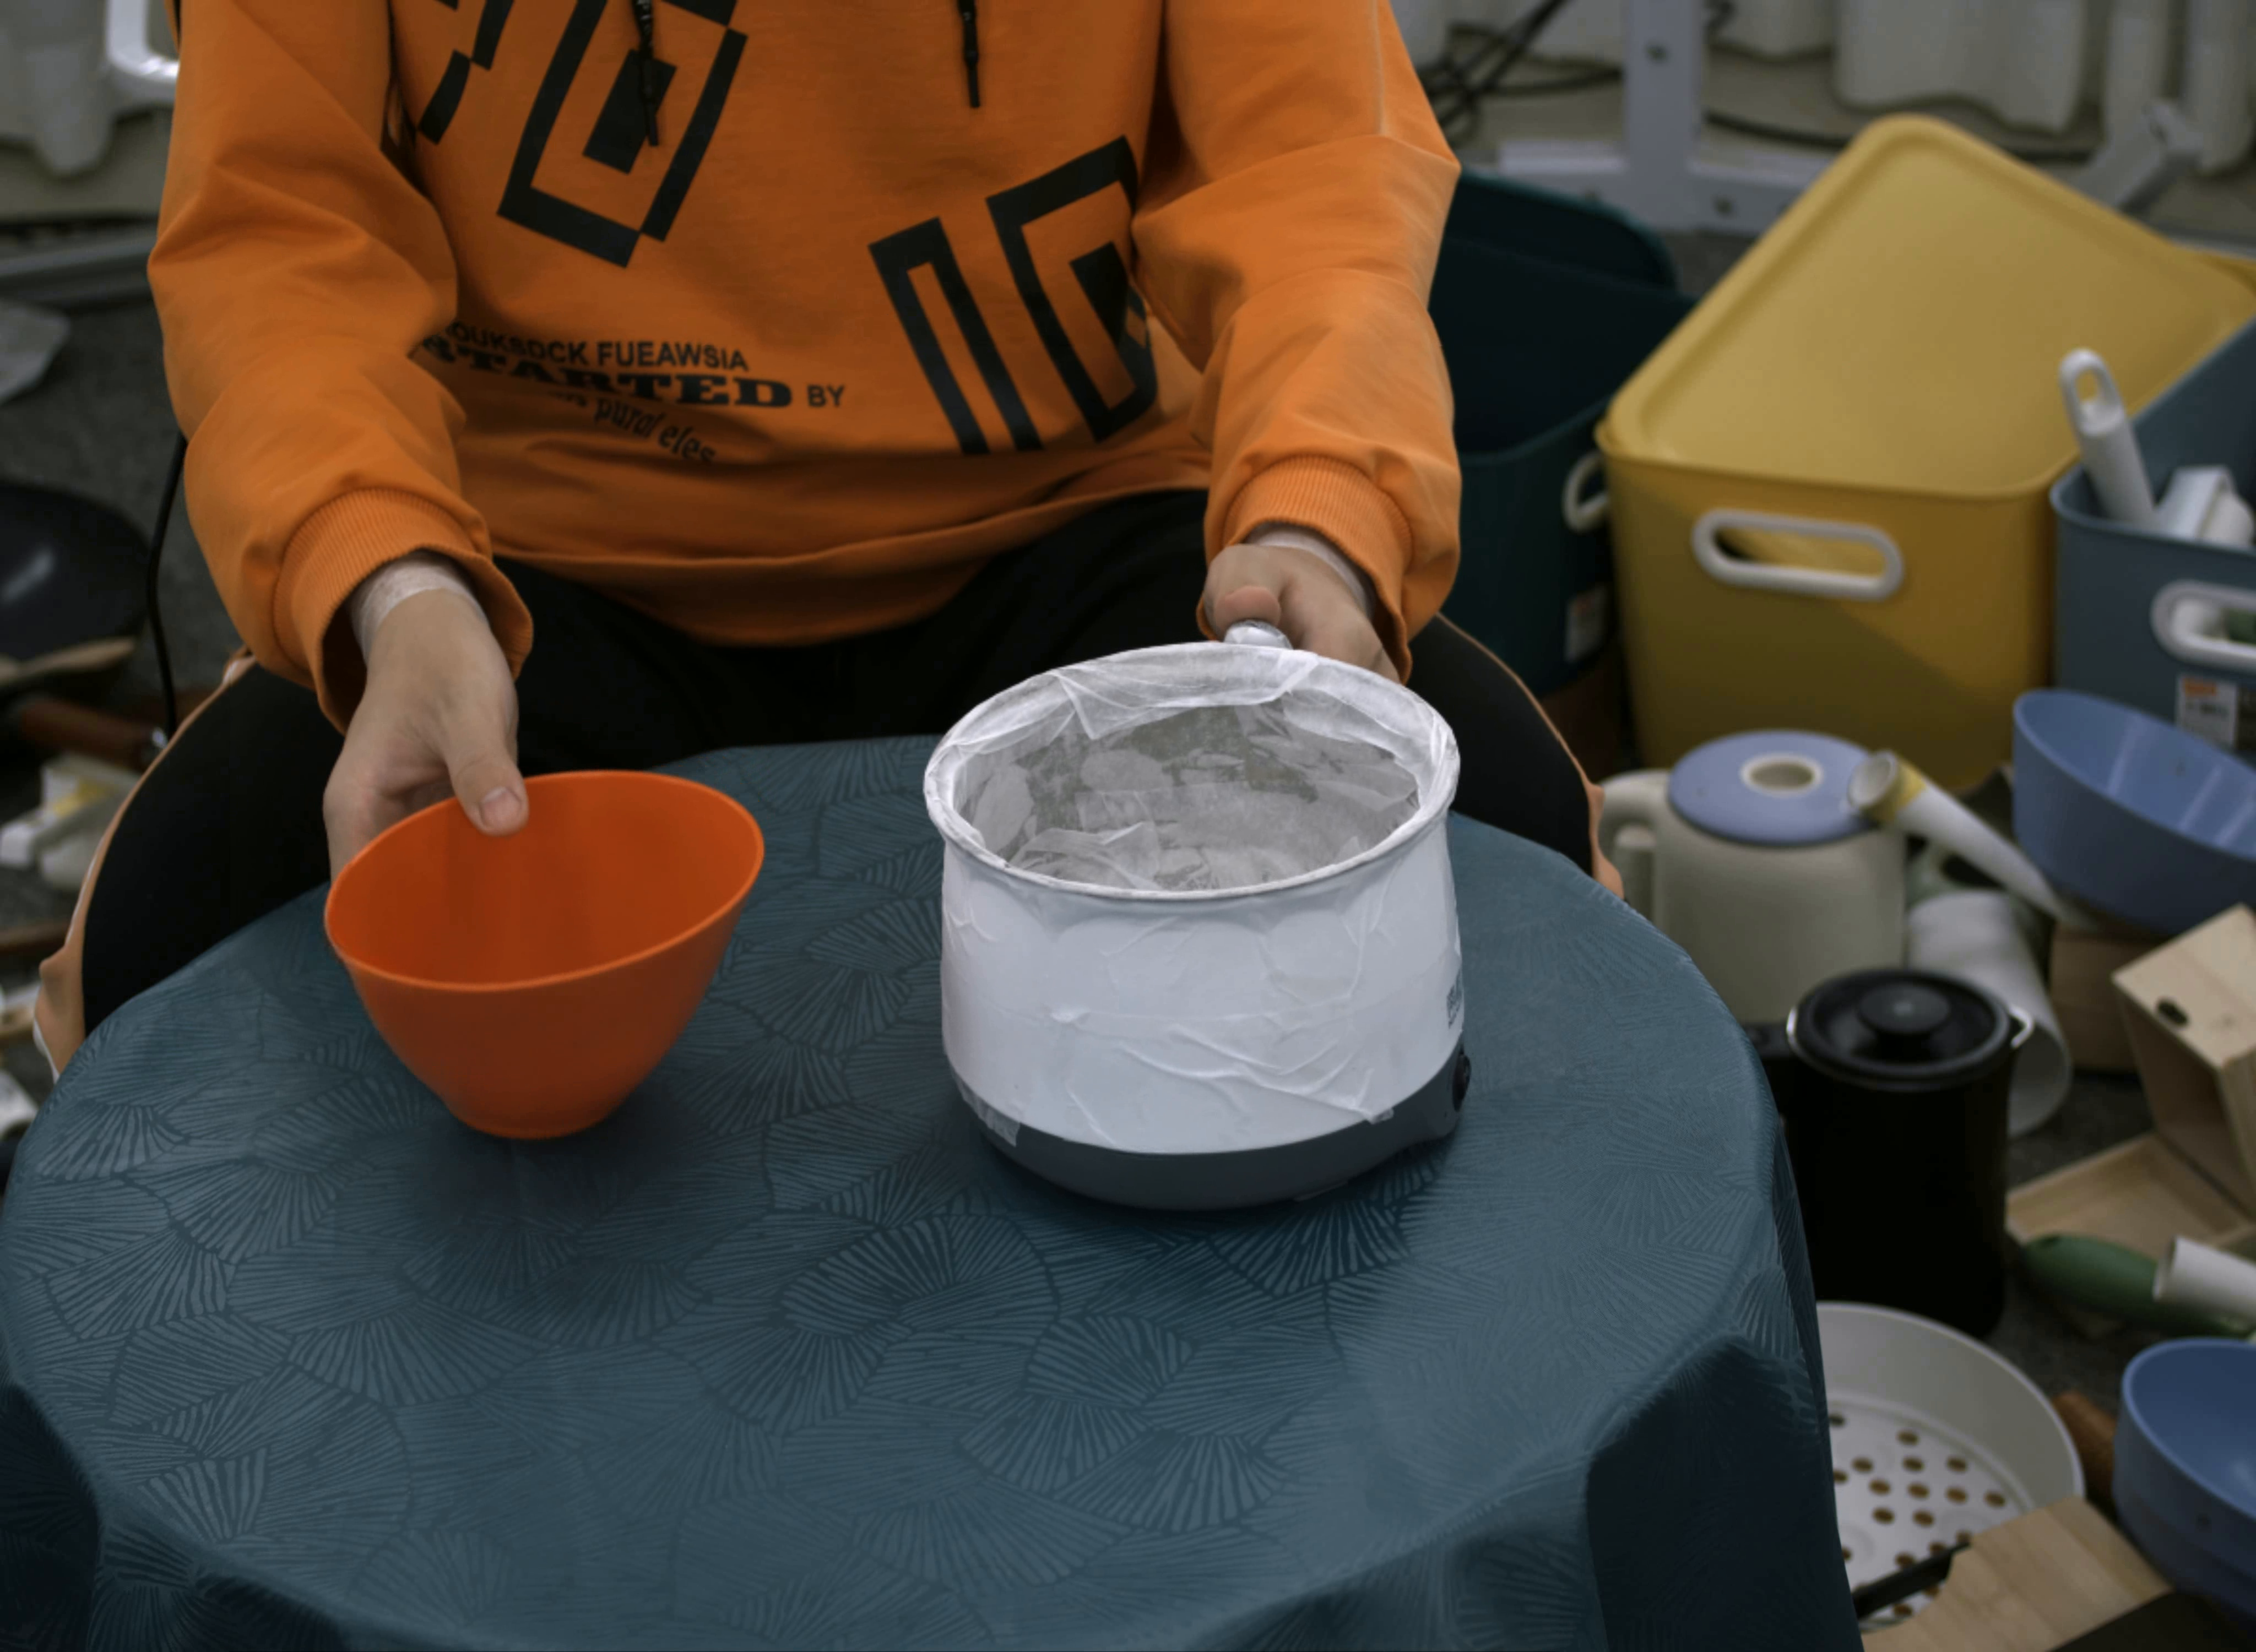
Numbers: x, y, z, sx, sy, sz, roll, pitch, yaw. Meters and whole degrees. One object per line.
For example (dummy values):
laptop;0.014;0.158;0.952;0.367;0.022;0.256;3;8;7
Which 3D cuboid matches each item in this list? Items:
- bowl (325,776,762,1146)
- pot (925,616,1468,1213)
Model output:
bowl;-0.194;0.052;1.893;0.147;0.103;0.150;-1;32;1
pot;0.029;0.022;1.903;0.177;0.135;0.238;3;28;11
